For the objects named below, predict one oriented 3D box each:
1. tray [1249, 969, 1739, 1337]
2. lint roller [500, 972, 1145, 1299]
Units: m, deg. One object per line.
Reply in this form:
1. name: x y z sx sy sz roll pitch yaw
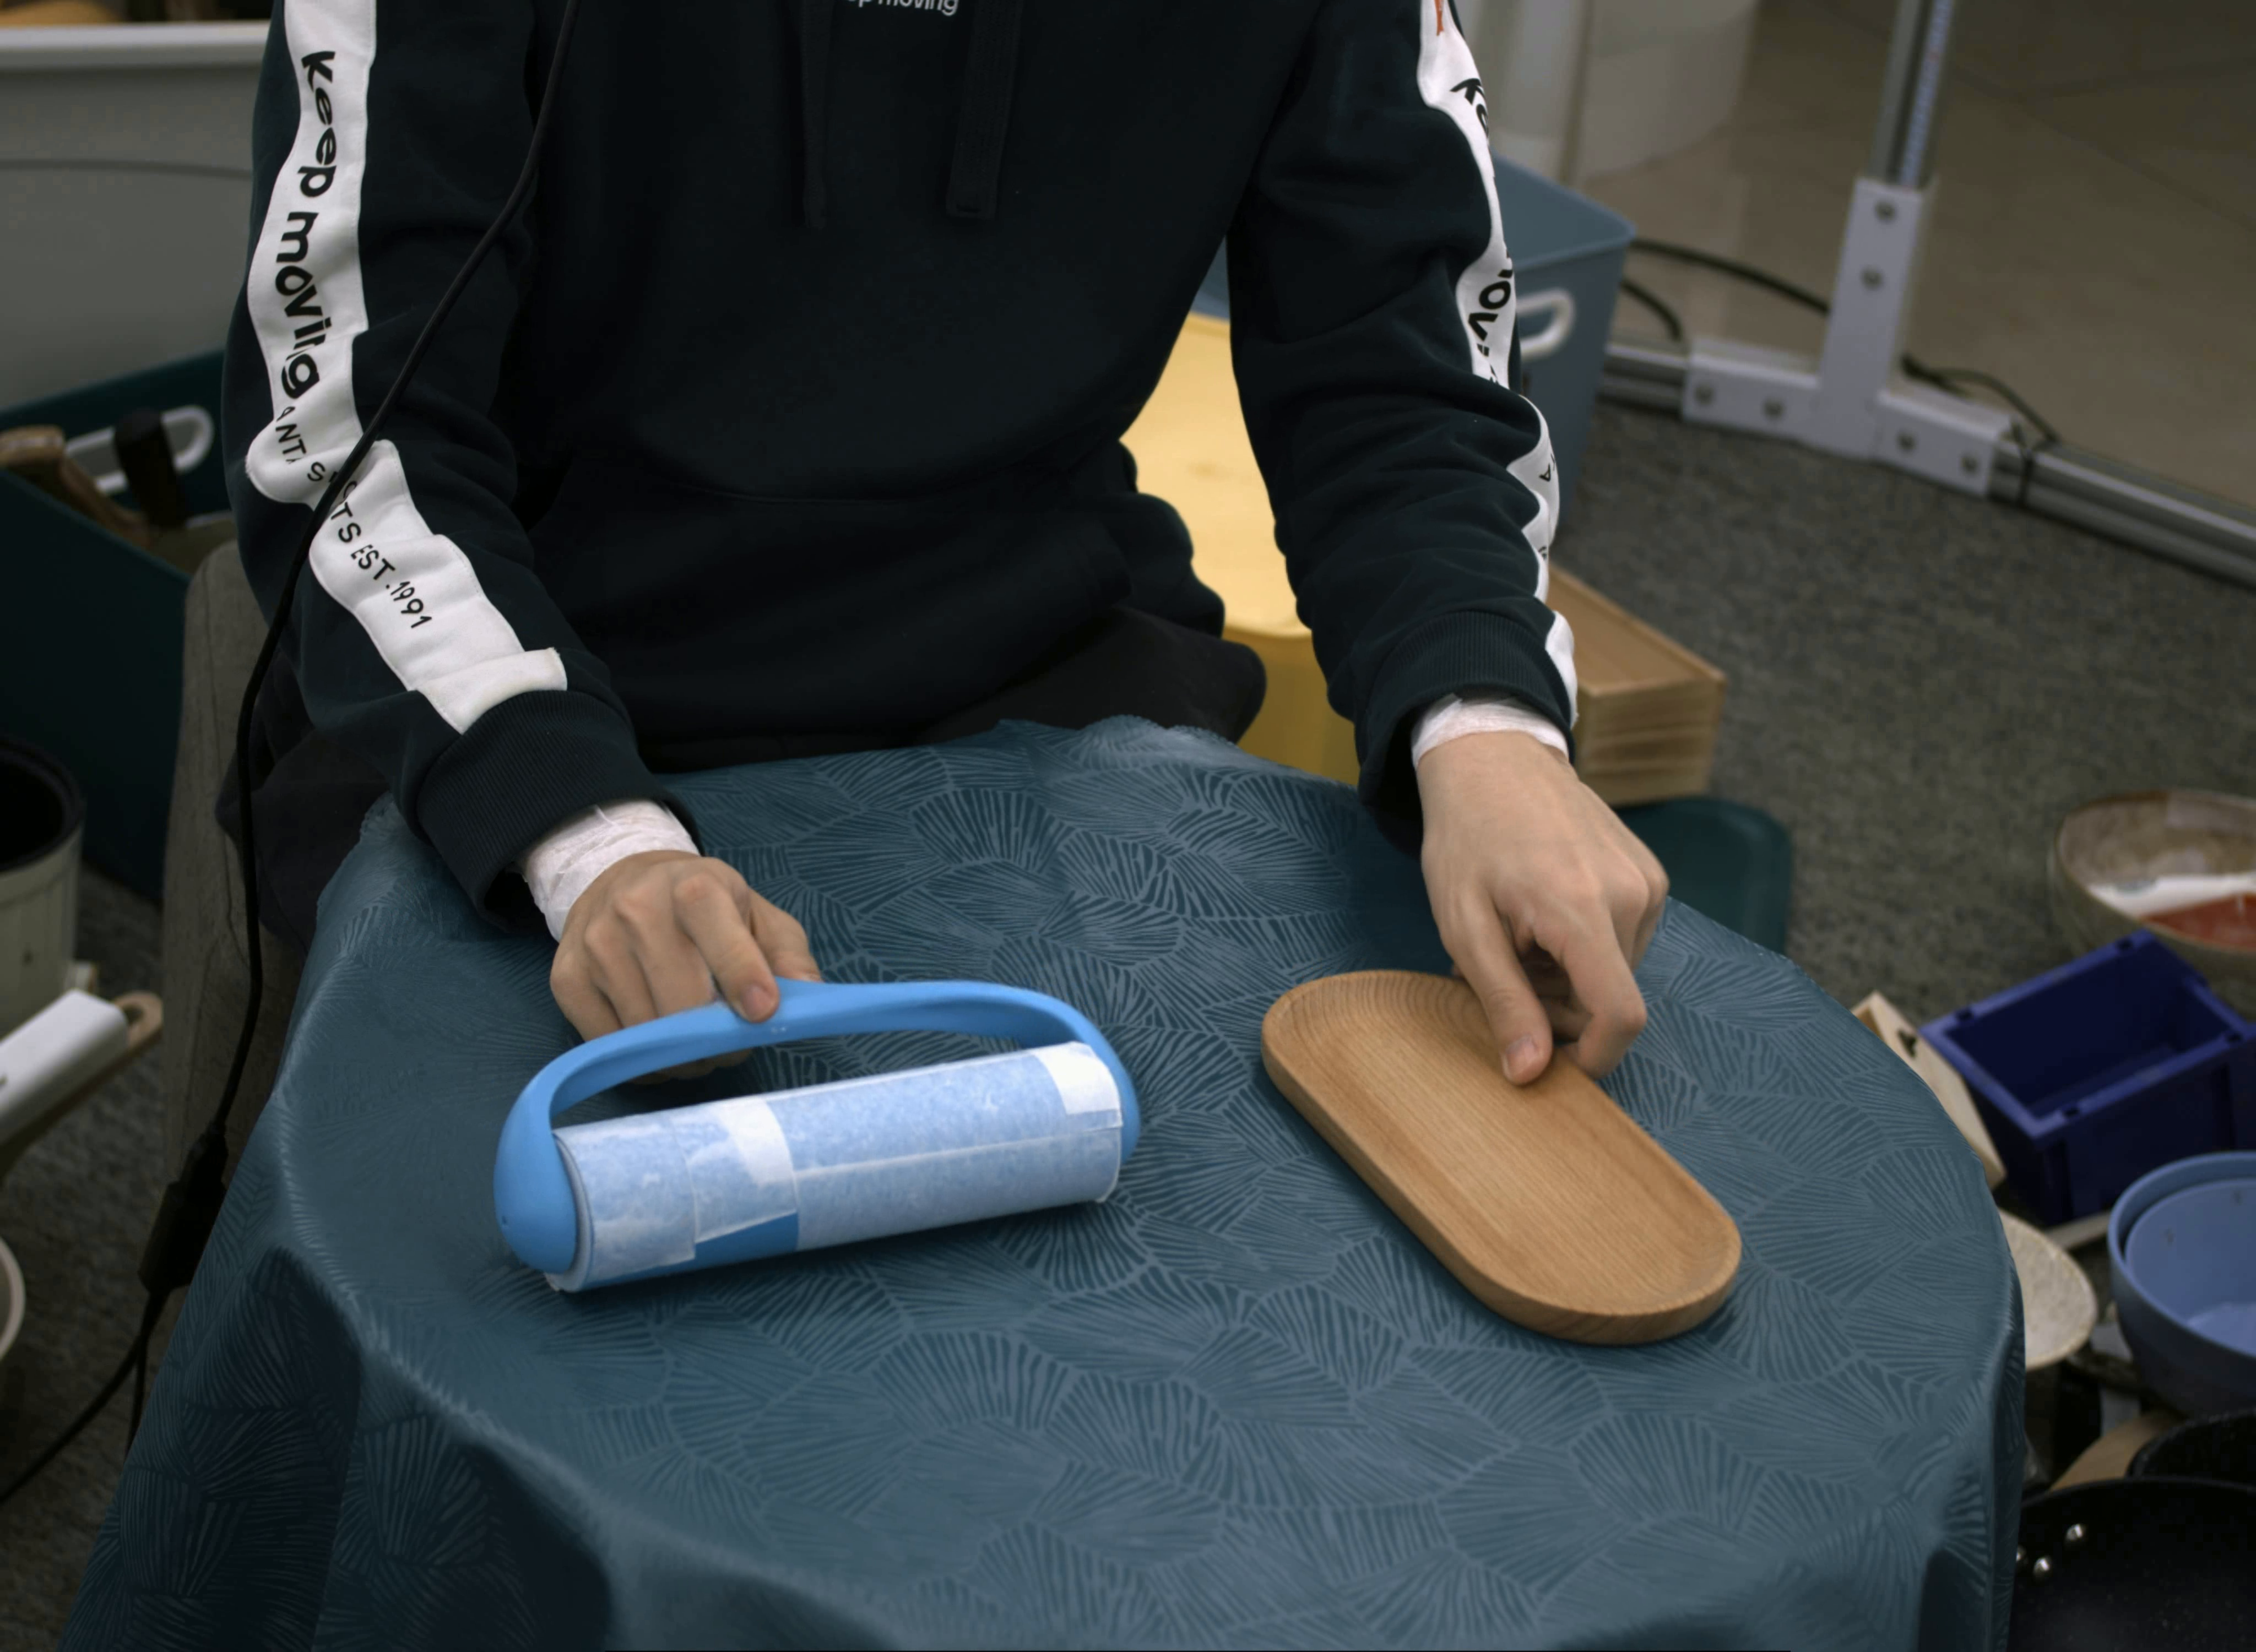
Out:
1. tray: 0.123 0.110 1.832 0.101 0.020 0.233 -10 30 -25
2. lint roller: -0.127 0.084 1.785 0.227 0.067 0.182 -11 32 -29
